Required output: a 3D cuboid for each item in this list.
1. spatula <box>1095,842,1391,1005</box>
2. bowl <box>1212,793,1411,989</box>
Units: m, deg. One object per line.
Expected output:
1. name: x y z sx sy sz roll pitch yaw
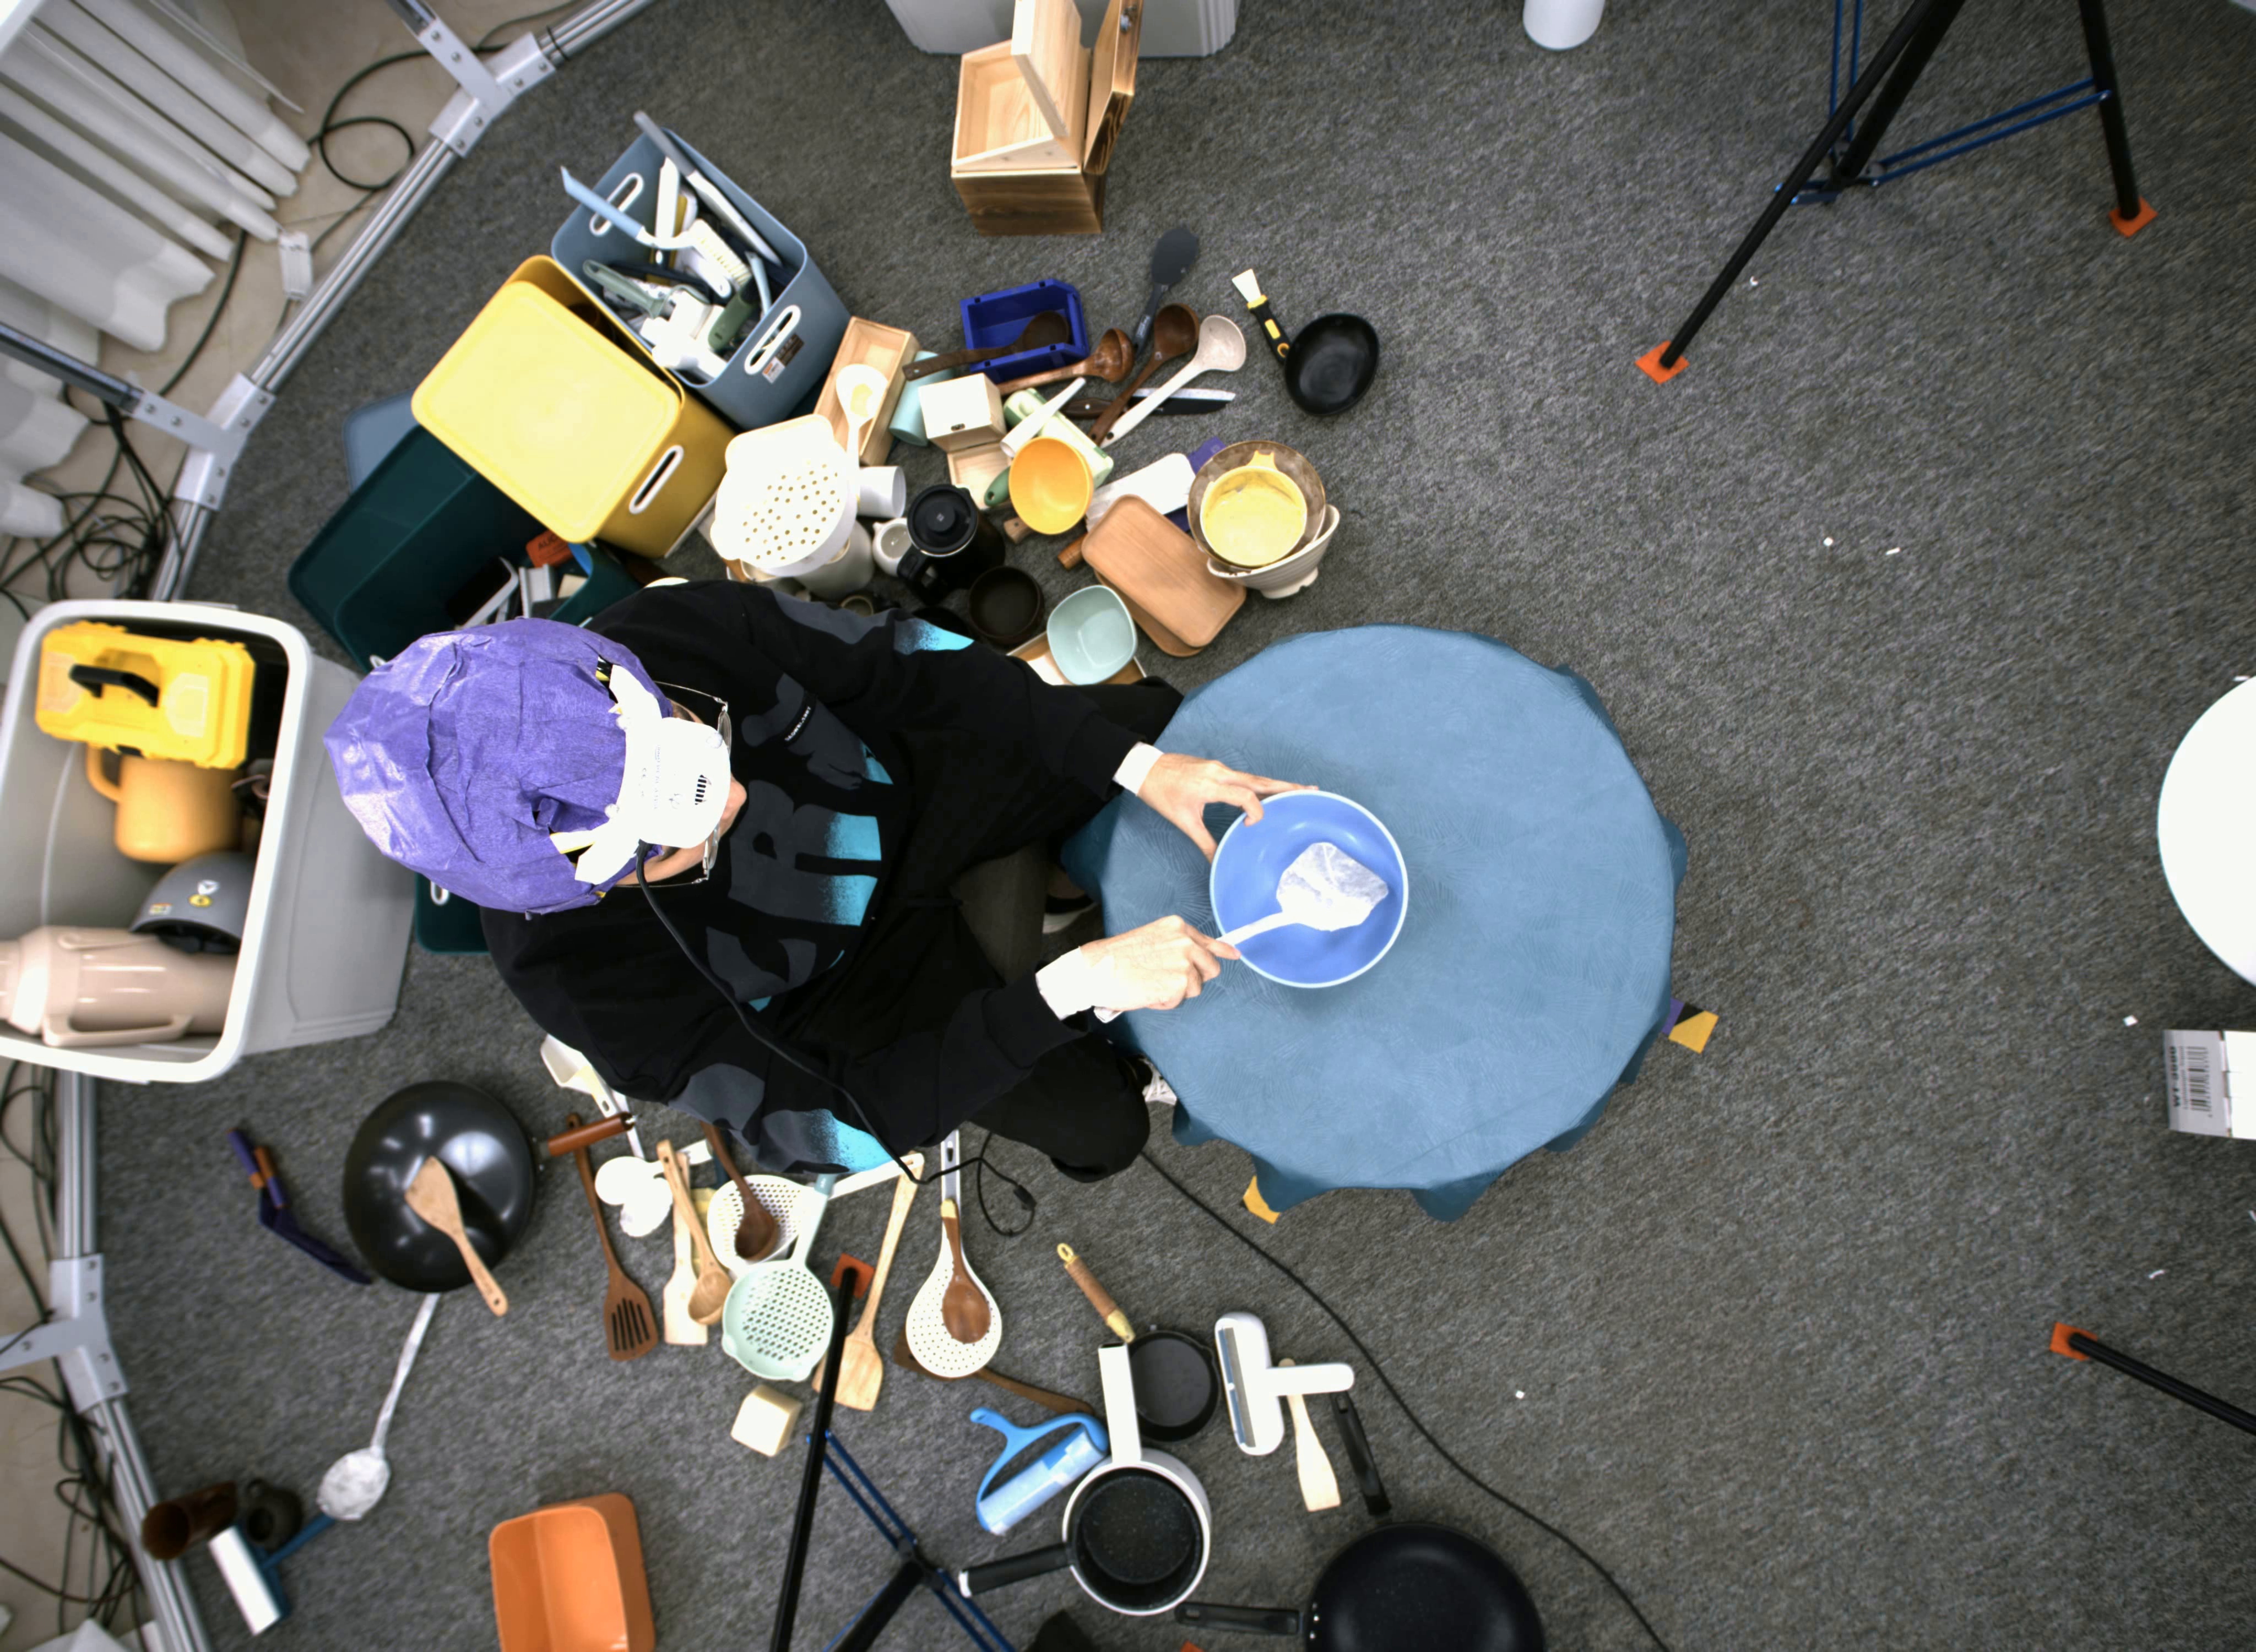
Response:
1. spatula: 0.109 0.095 1.290 0.098 0.359 0.046 39 128 30
2. bowl: 0.191 0.060 1.408 0.197 0.094 0.198 2 98 15
